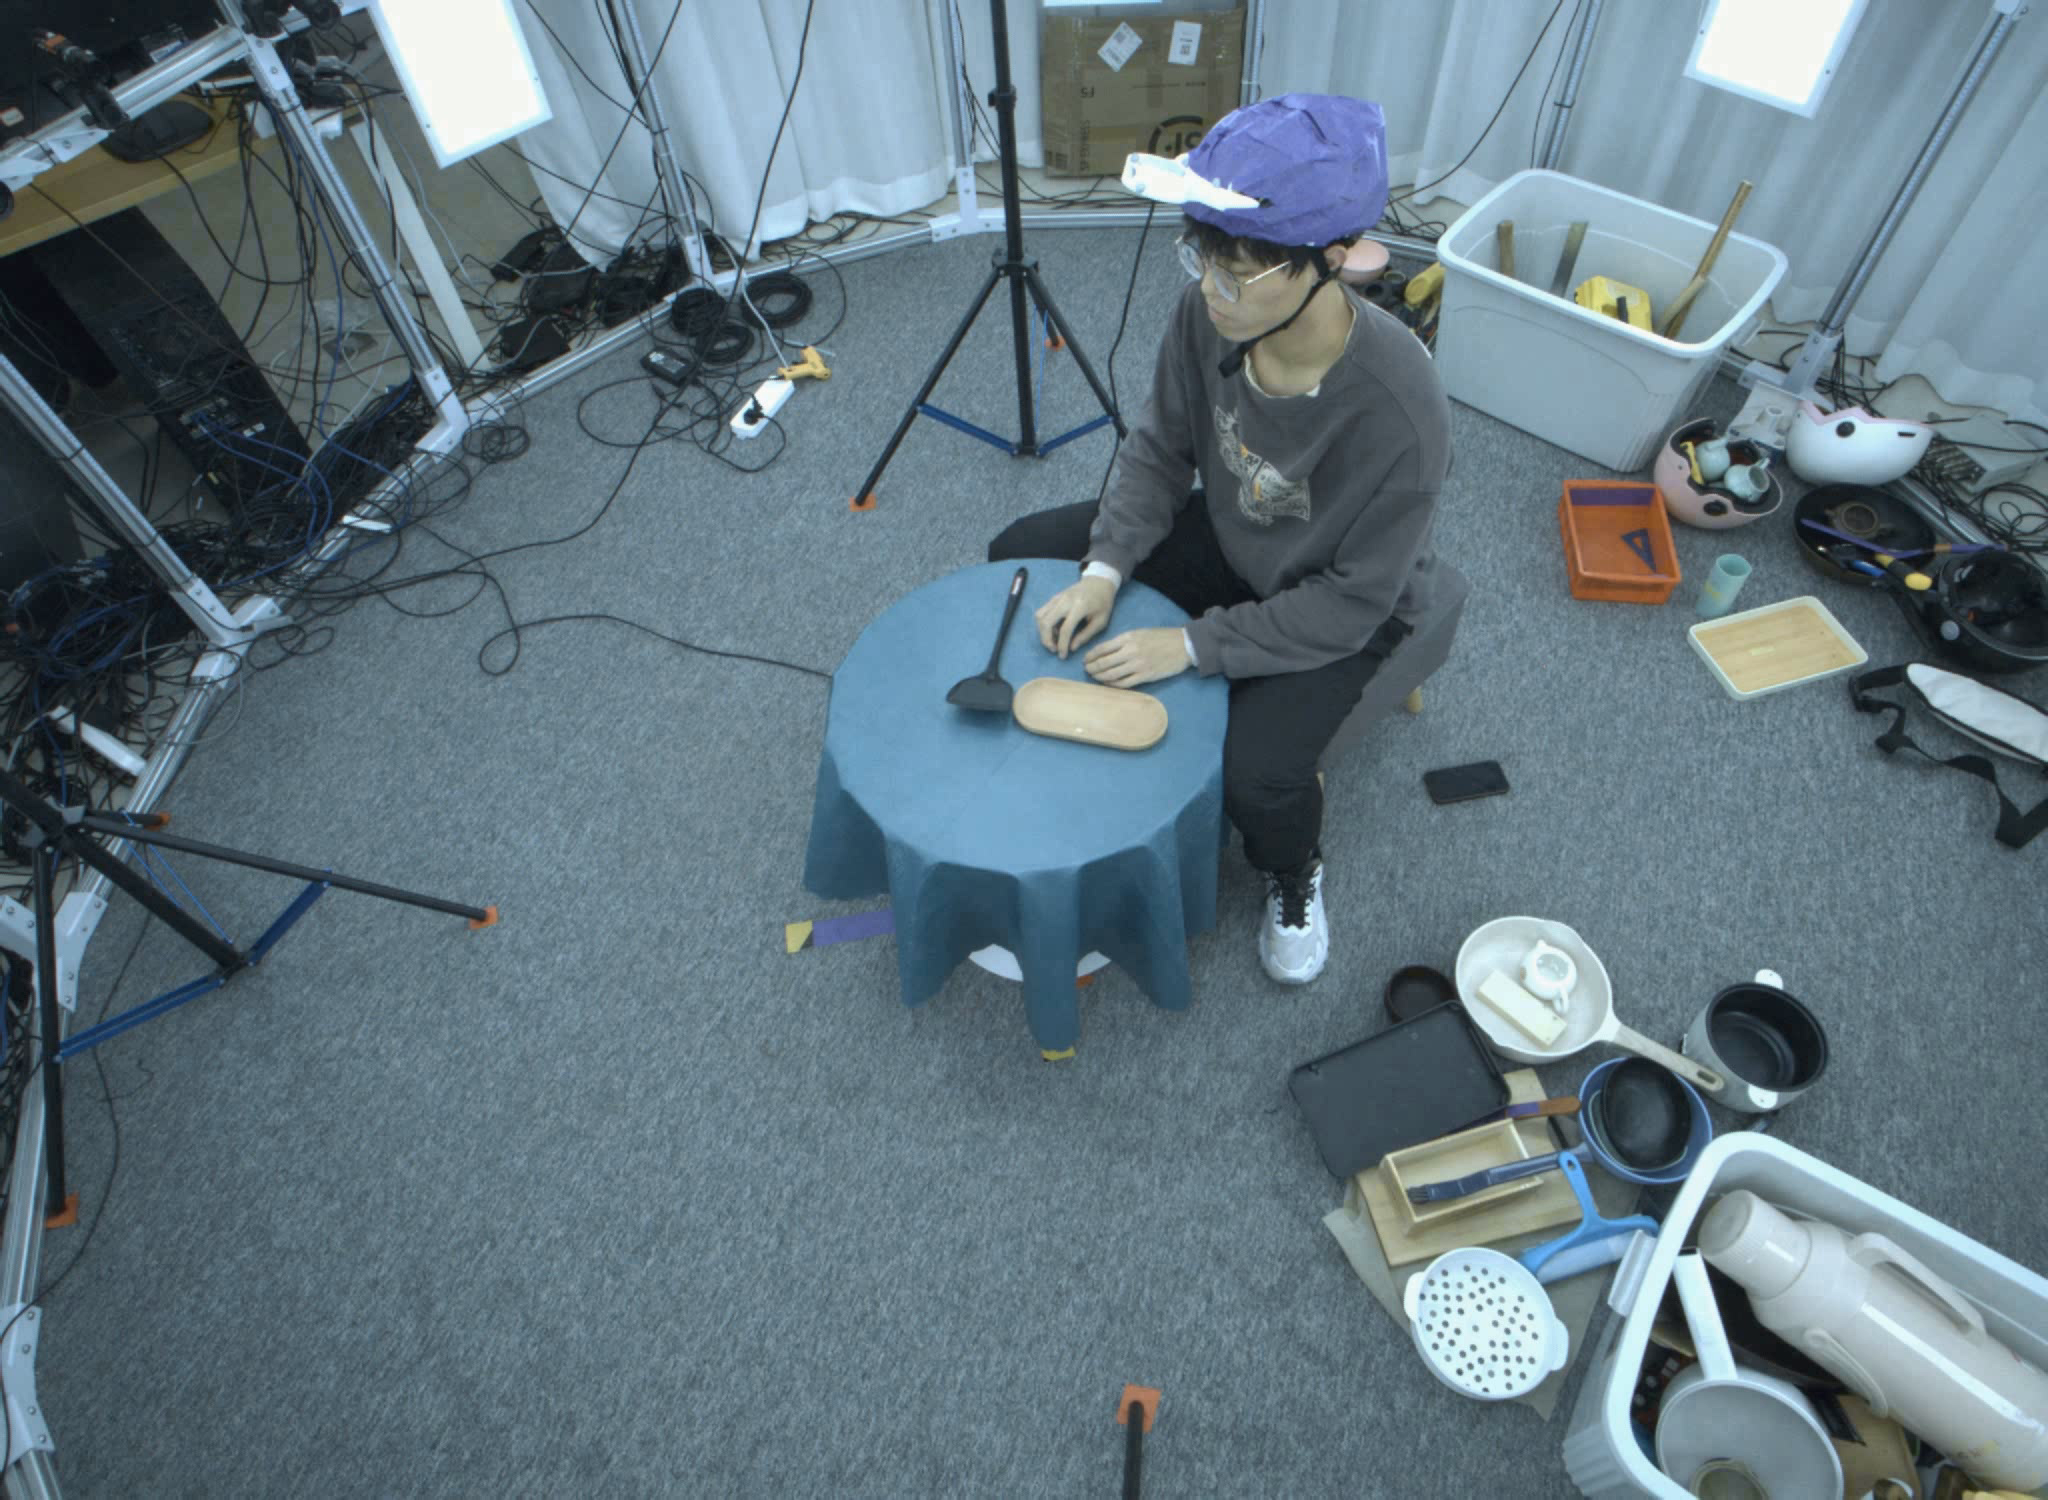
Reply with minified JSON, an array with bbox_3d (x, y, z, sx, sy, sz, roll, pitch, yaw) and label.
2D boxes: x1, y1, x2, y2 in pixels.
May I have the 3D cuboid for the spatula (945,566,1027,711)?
[{"bbox_3d":[-0.037,-0.179,1.892,0.099,0.041,0.324,10,55,7],"label":"spatula"}]

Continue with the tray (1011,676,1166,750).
[{"bbox_3d":[0.094,-0.054,1.810,0.229,0.020,0.101,10,55,10],"label":"tray"}]
